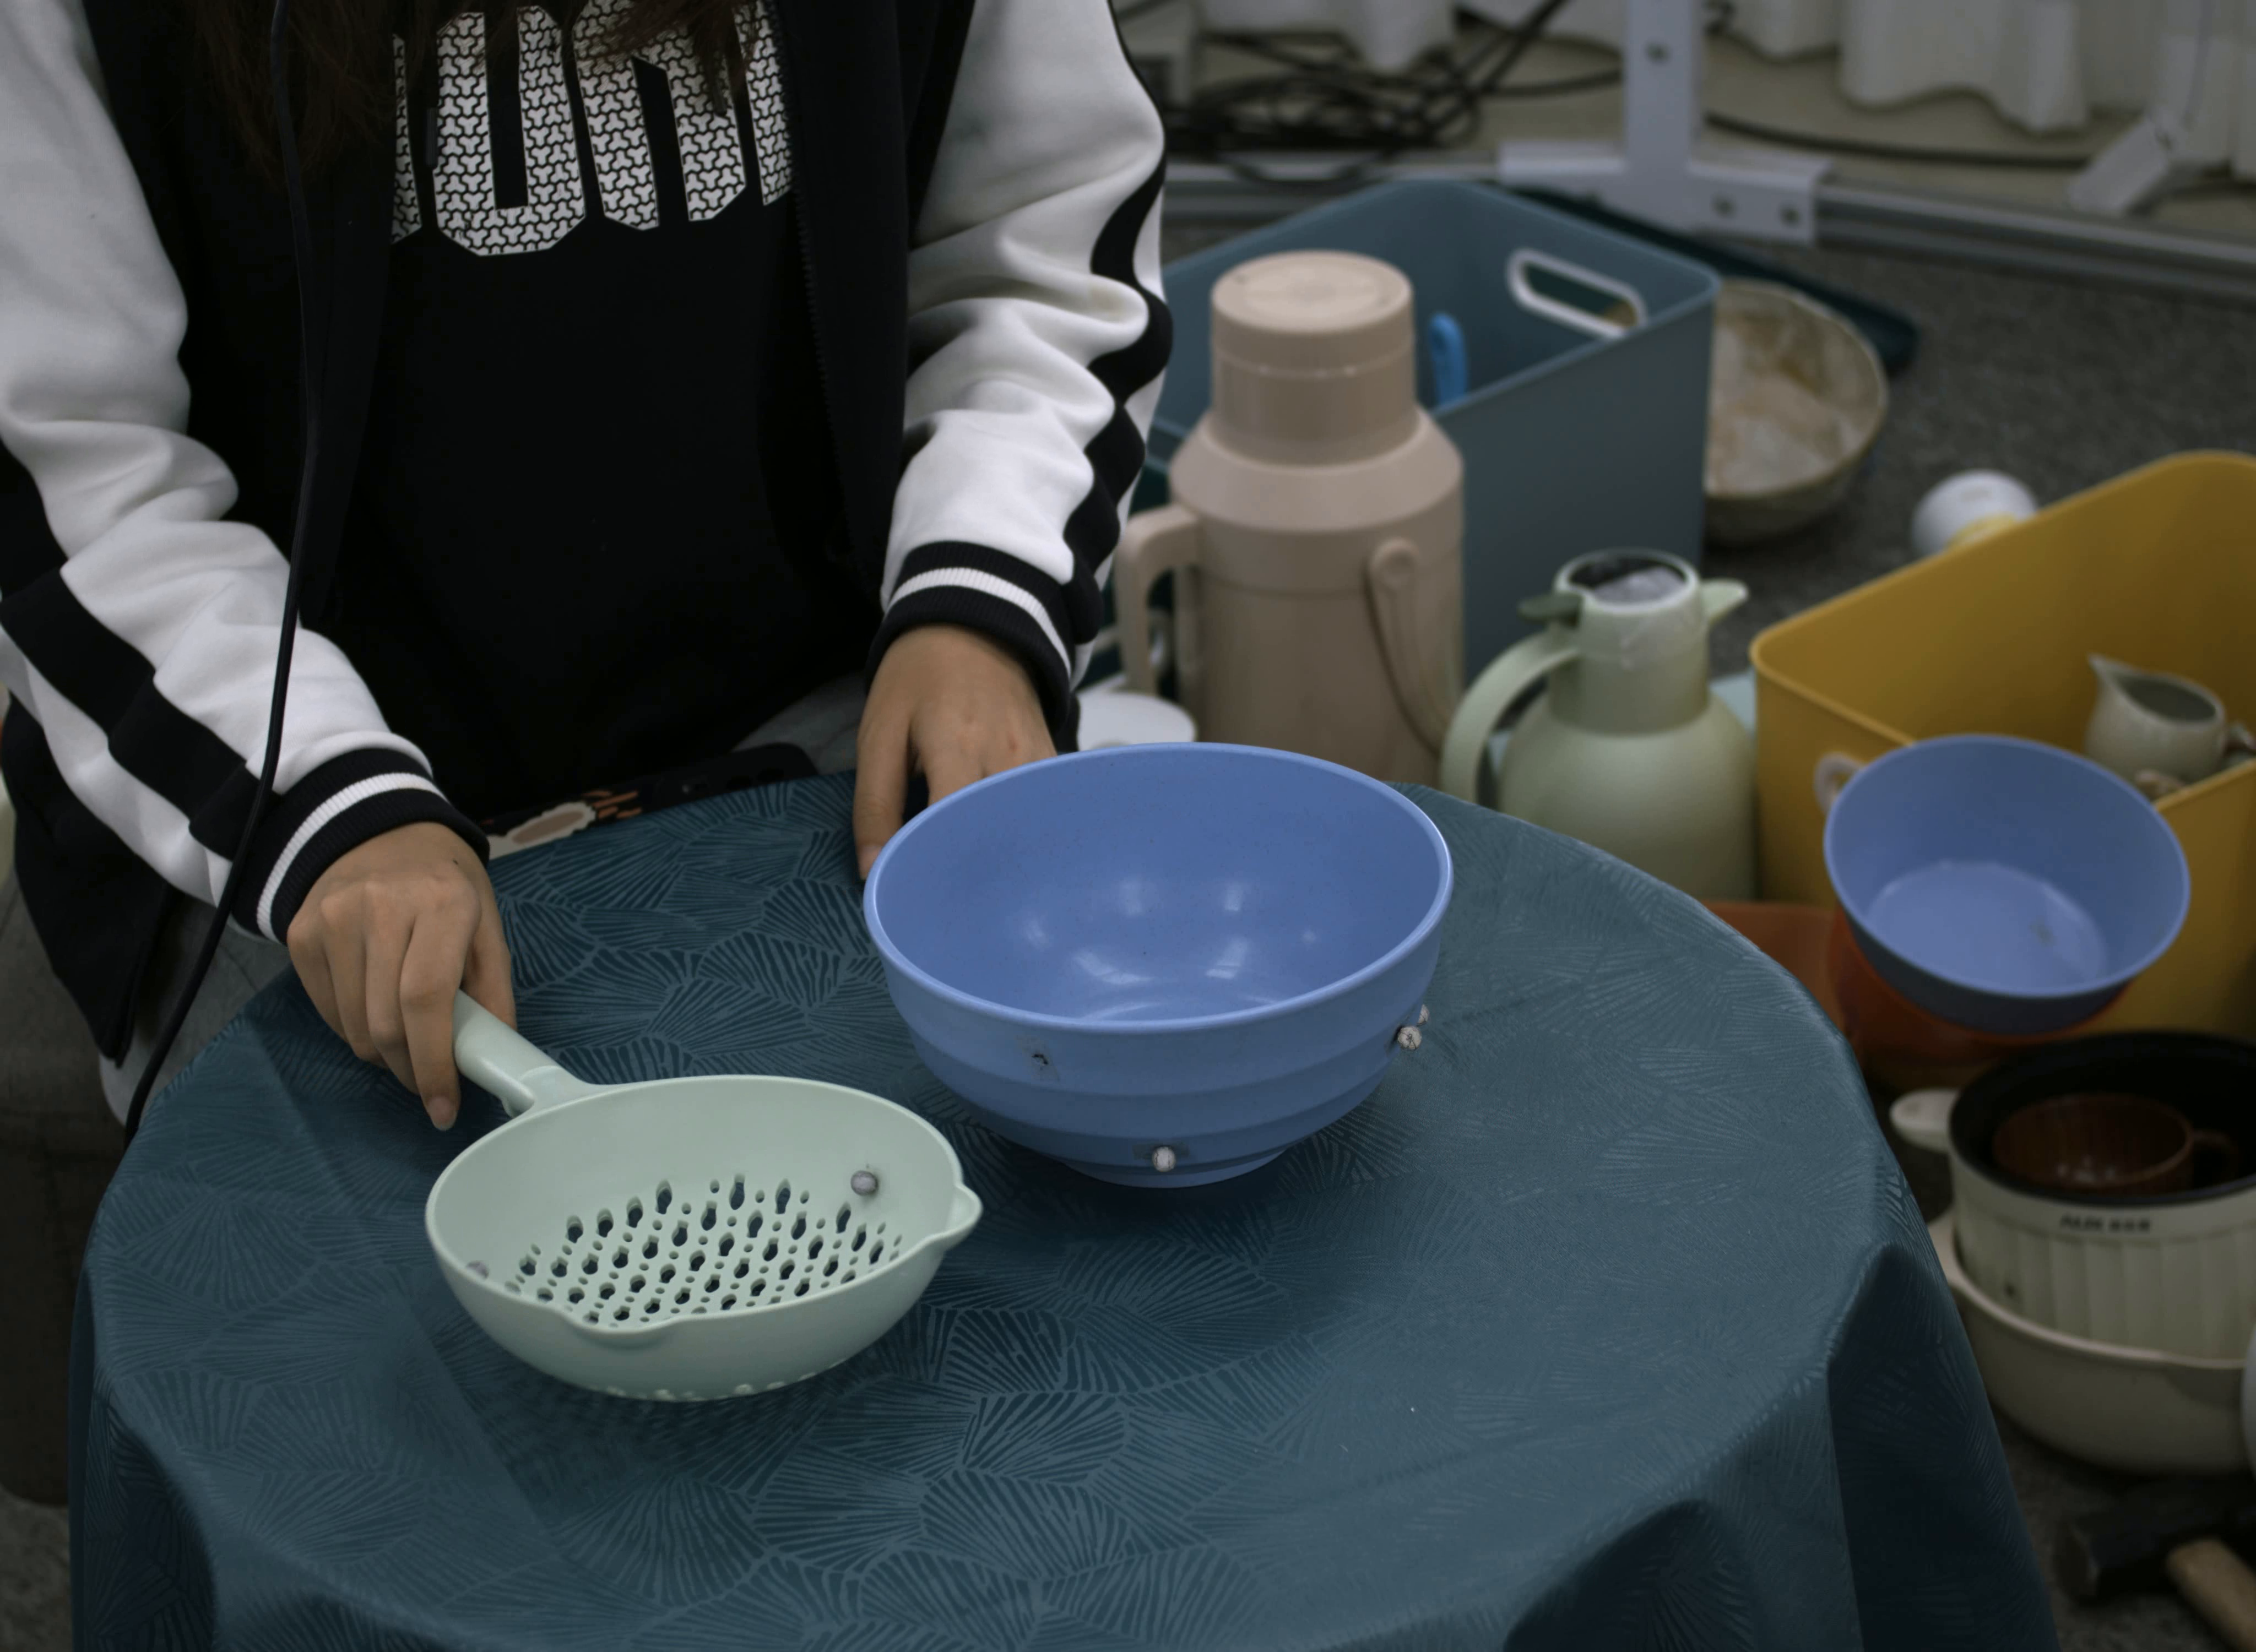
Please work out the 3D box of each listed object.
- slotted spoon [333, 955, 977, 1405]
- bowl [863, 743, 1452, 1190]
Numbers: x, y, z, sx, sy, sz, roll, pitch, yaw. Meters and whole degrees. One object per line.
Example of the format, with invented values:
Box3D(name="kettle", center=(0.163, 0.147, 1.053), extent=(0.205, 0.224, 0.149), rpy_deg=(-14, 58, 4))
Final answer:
Box3D(name="slotted spoon", center=(-0.186, 0.100, 1.848), extent=(0.170, 0.074, 0.360), rpy_deg=(-16, 32, -27))
Box3D(name="bowl", center=(0.012, 0.058, 1.881), extent=(0.195, 0.094, 0.199), rpy_deg=(-3, 27, 2))
